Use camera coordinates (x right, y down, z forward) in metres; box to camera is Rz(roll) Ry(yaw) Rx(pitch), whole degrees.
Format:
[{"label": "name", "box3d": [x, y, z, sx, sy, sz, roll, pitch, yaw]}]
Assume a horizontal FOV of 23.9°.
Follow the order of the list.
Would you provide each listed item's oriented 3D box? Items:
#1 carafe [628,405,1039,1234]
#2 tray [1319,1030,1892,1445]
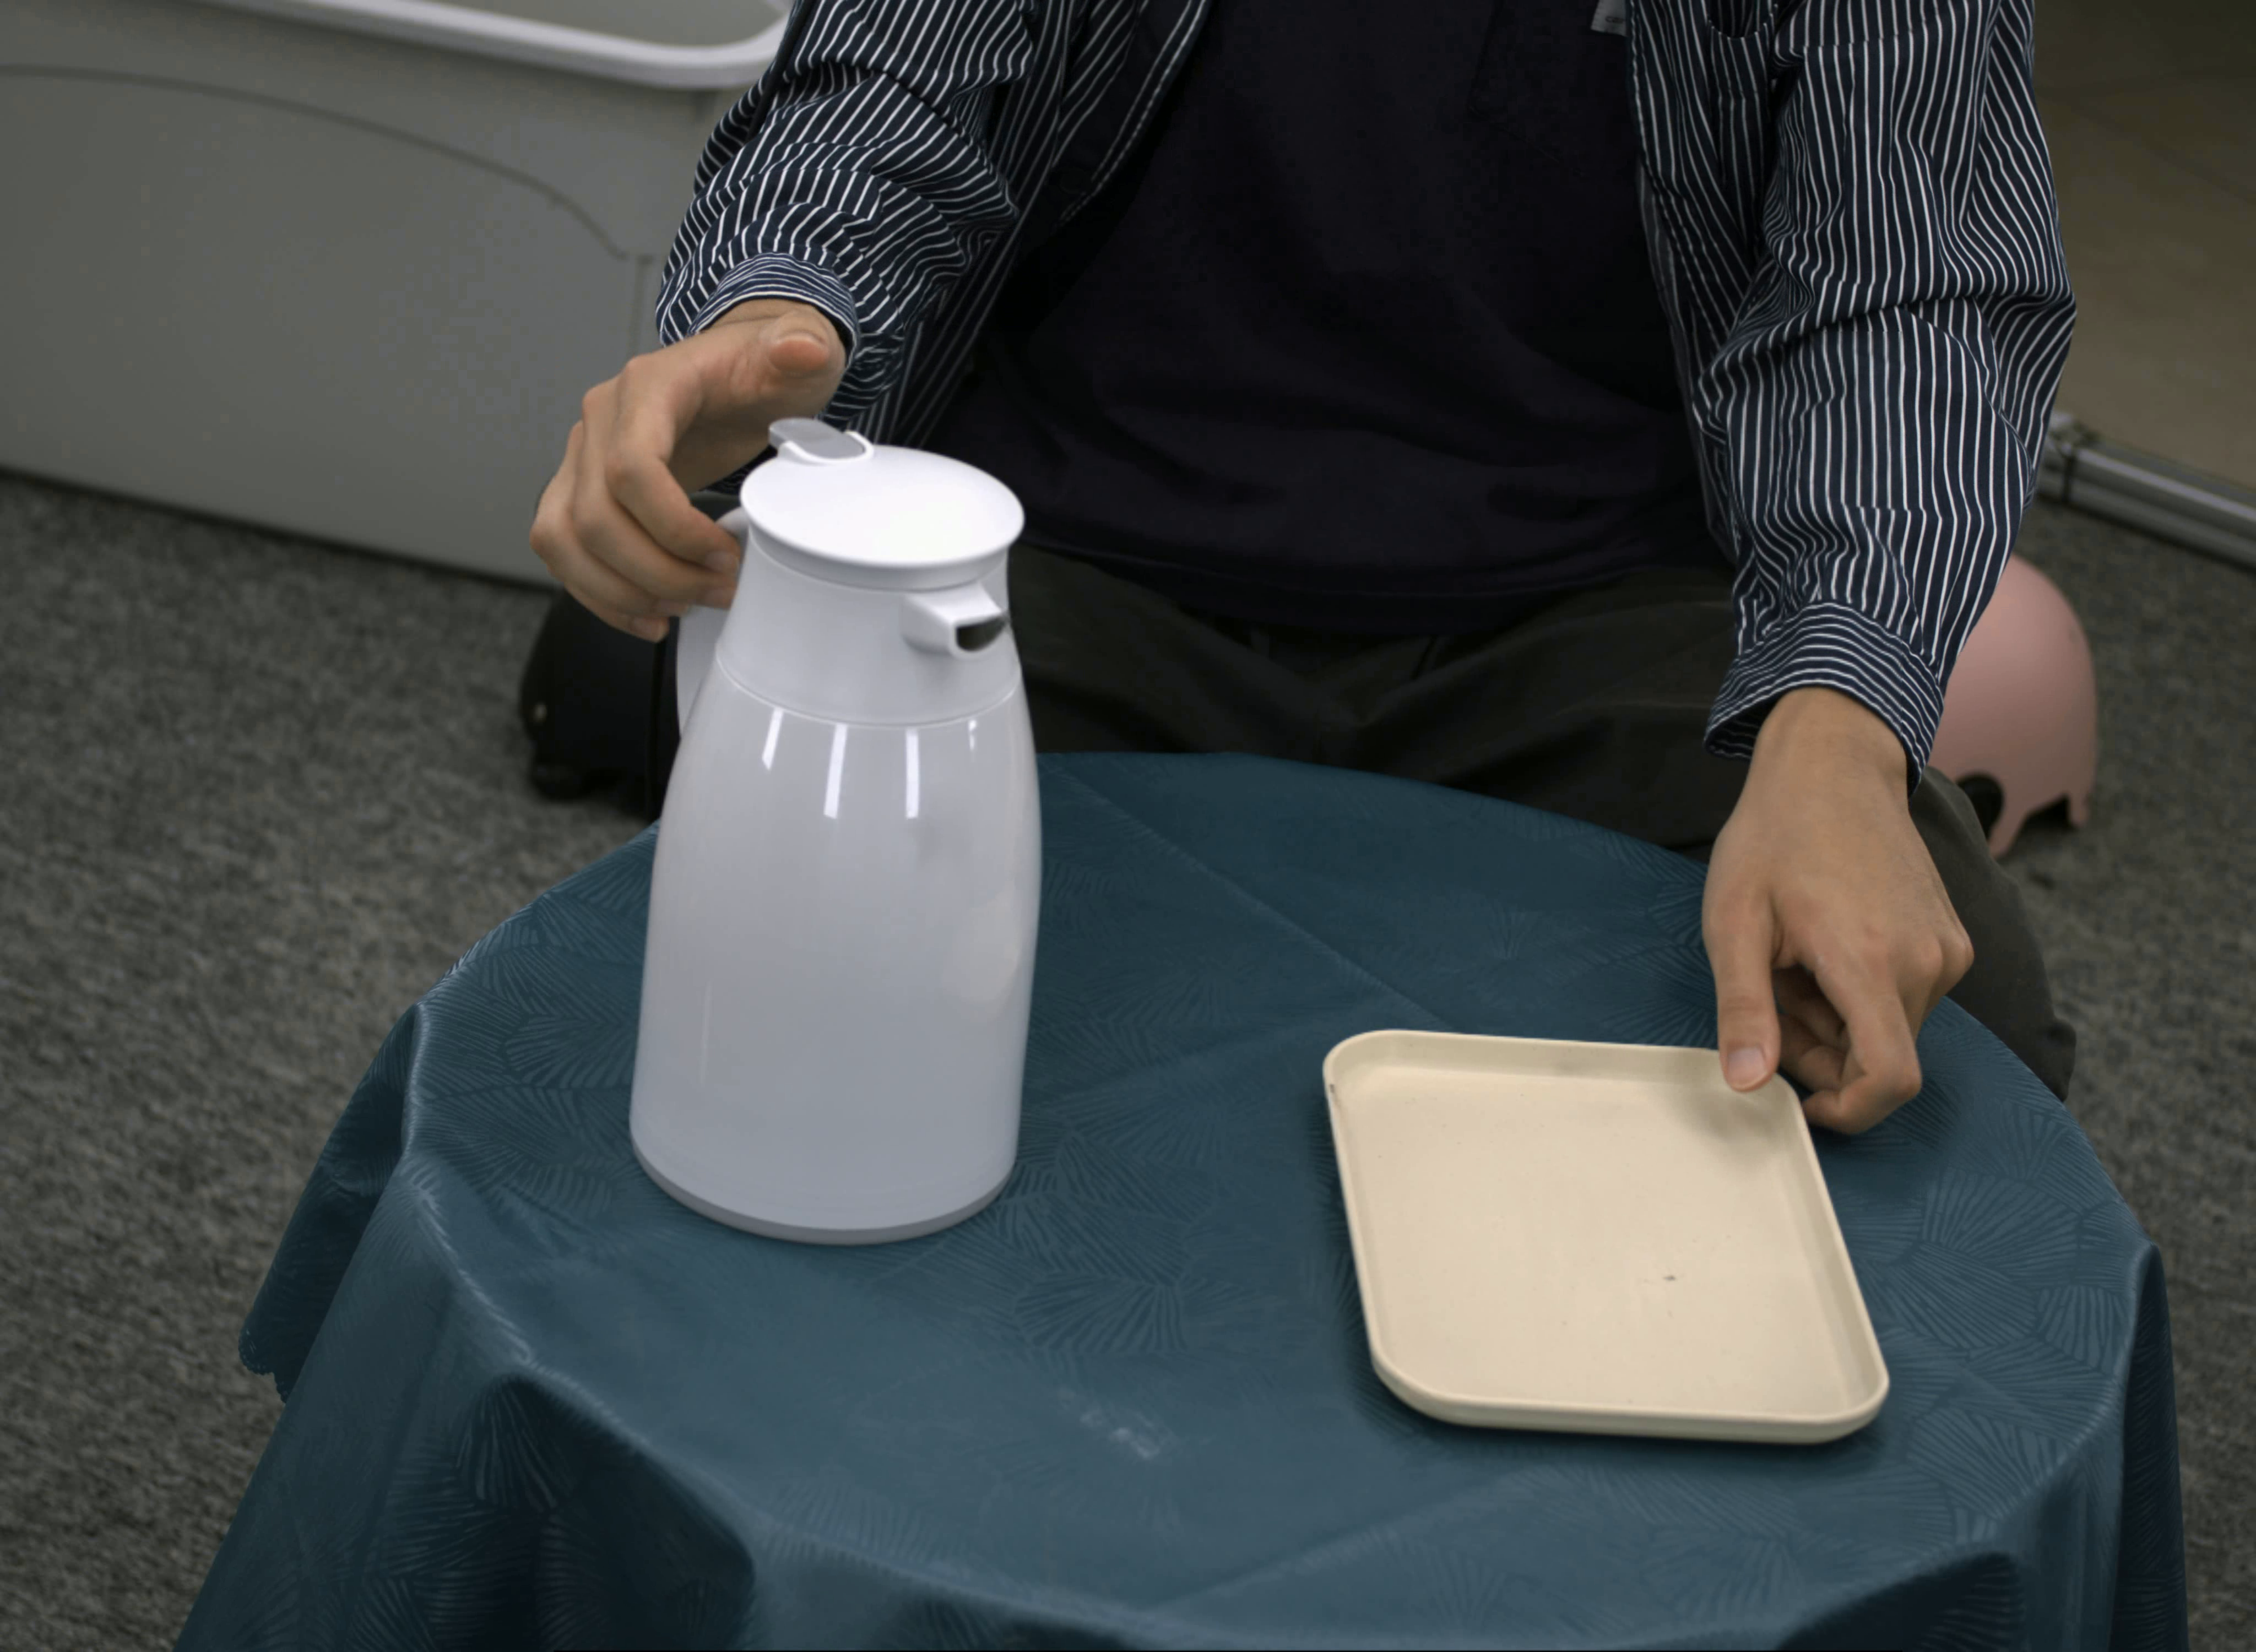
[{"label": "carafe", "box3d": [-0.104, -0.012, 1.766, 0.132, 0.248, 0.169, -14, 32, -35]}, {"label": "tray", "box3d": [0.155, 0.137, 1.786, 0.170, 0.017, 0.241, 4, 26, -5]}]
